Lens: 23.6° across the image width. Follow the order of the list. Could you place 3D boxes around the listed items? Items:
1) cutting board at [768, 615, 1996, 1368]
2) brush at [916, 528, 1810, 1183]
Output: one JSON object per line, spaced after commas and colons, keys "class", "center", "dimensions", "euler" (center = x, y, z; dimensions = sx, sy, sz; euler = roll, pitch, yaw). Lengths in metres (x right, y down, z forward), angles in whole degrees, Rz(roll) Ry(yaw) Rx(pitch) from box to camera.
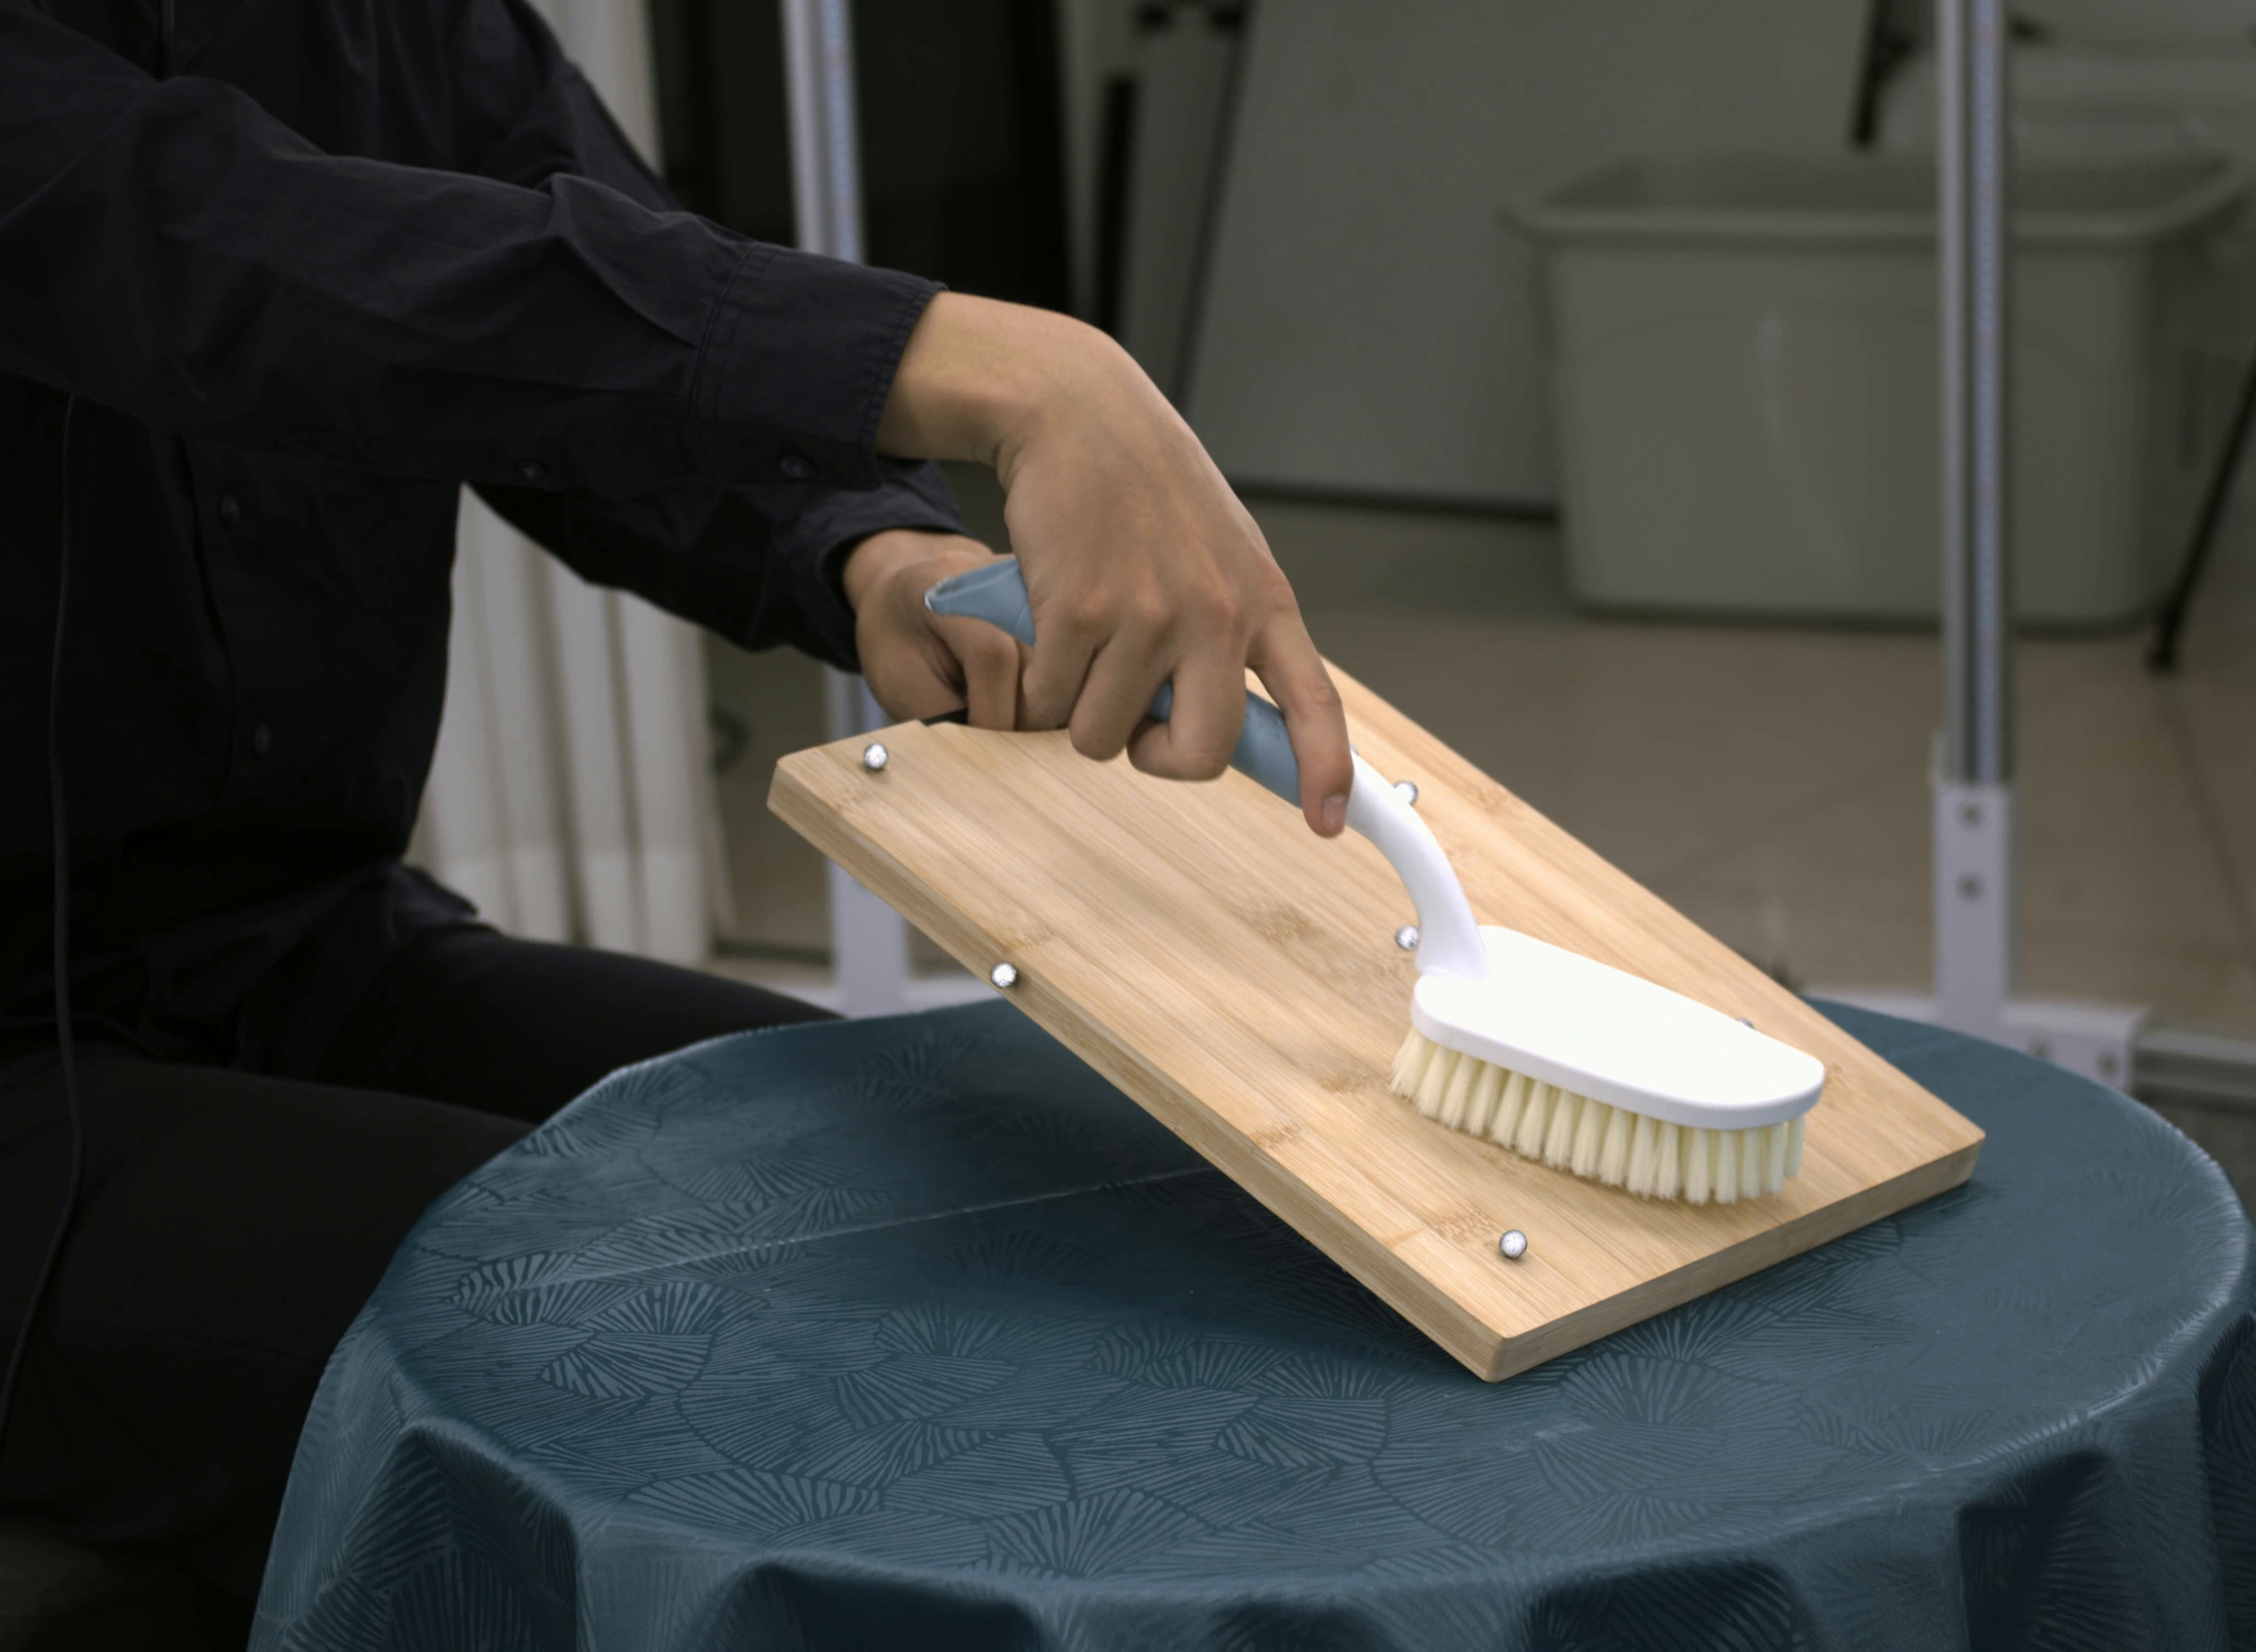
{"class": "cutting board", "center": [0.080, 0.044, 1.747], "dimensions": [0.245, 0.024, 0.352], "euler": [-17, 42, -43]}
{"class": "brush", "center": [0.064, 0.020, 1.682], "dimensions": [0.325, 0.085, 0.083], "euler": [31, -5, 8]}
